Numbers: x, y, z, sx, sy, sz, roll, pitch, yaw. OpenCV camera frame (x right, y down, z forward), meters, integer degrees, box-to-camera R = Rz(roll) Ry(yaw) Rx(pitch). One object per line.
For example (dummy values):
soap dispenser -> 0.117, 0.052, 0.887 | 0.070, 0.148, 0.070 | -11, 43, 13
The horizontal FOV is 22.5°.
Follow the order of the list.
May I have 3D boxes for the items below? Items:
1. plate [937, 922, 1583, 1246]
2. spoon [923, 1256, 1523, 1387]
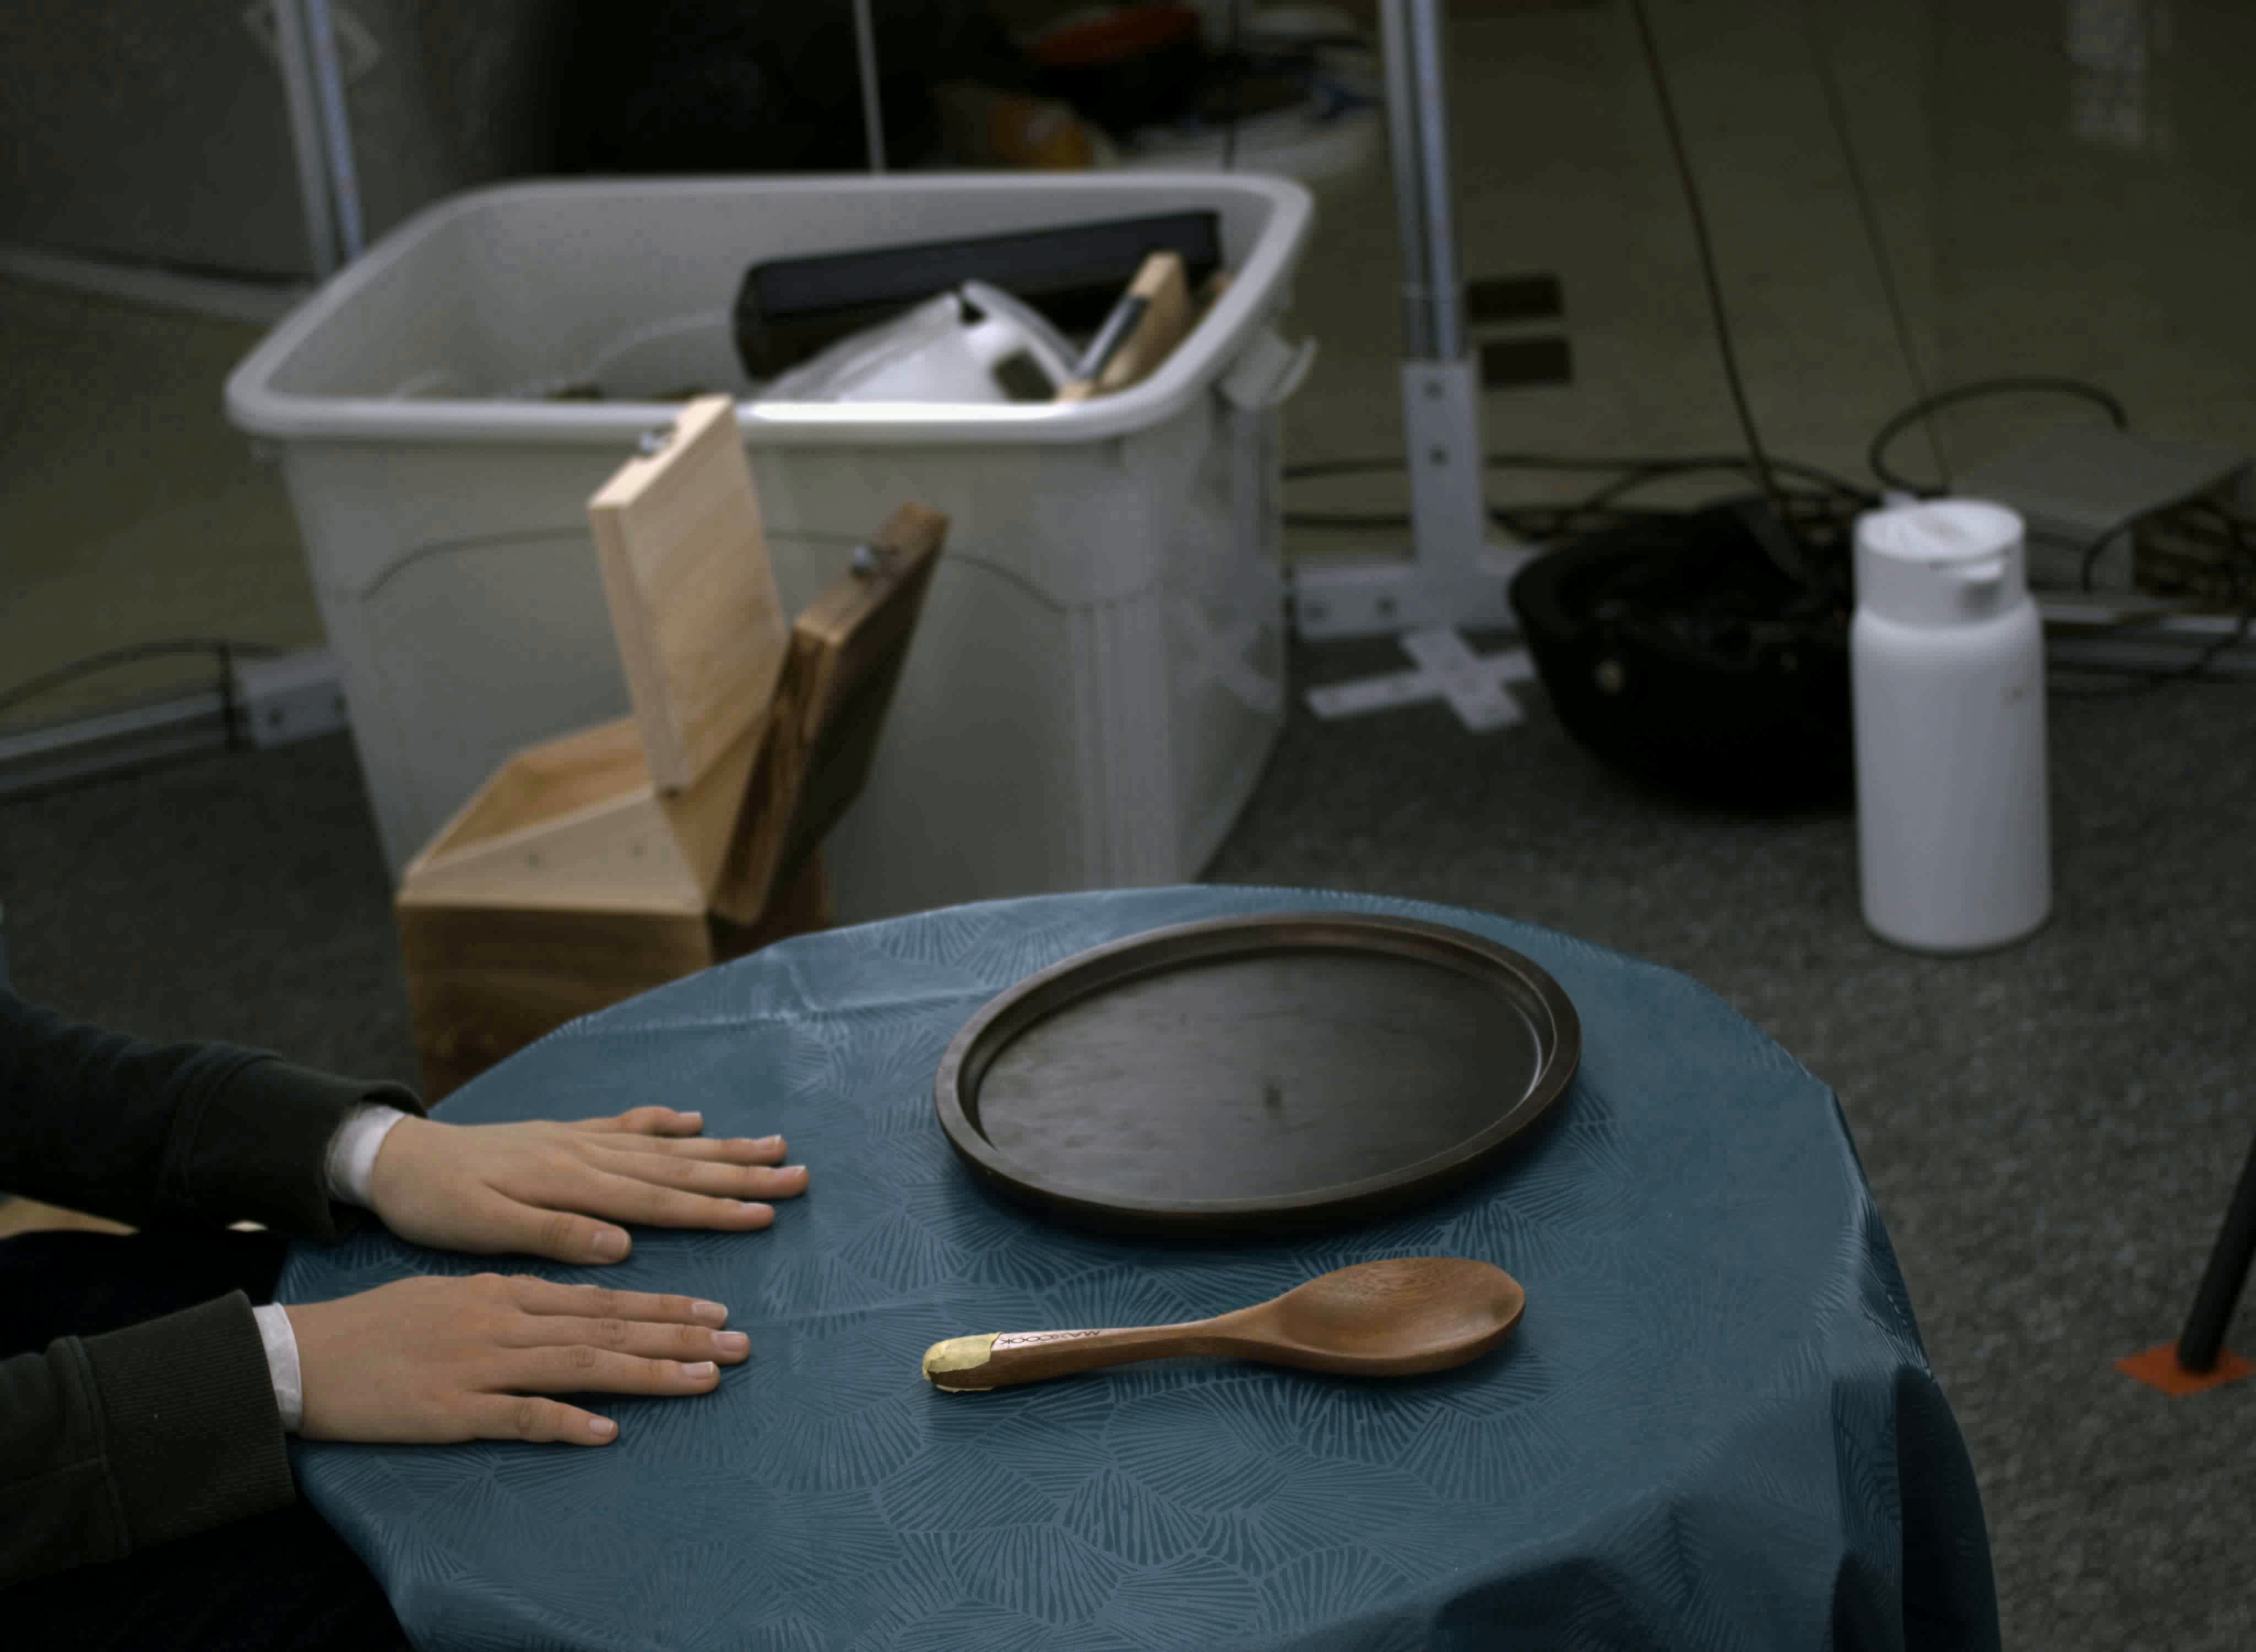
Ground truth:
plate -> 0.051, 0.098, 2.202 | 0.254, 0.029, 0.251 | -5, 24, 2
spoon -> 0.034, 0.183, 2.029 | 0.215, 0.017, 0.074 | -5, 25, 3
